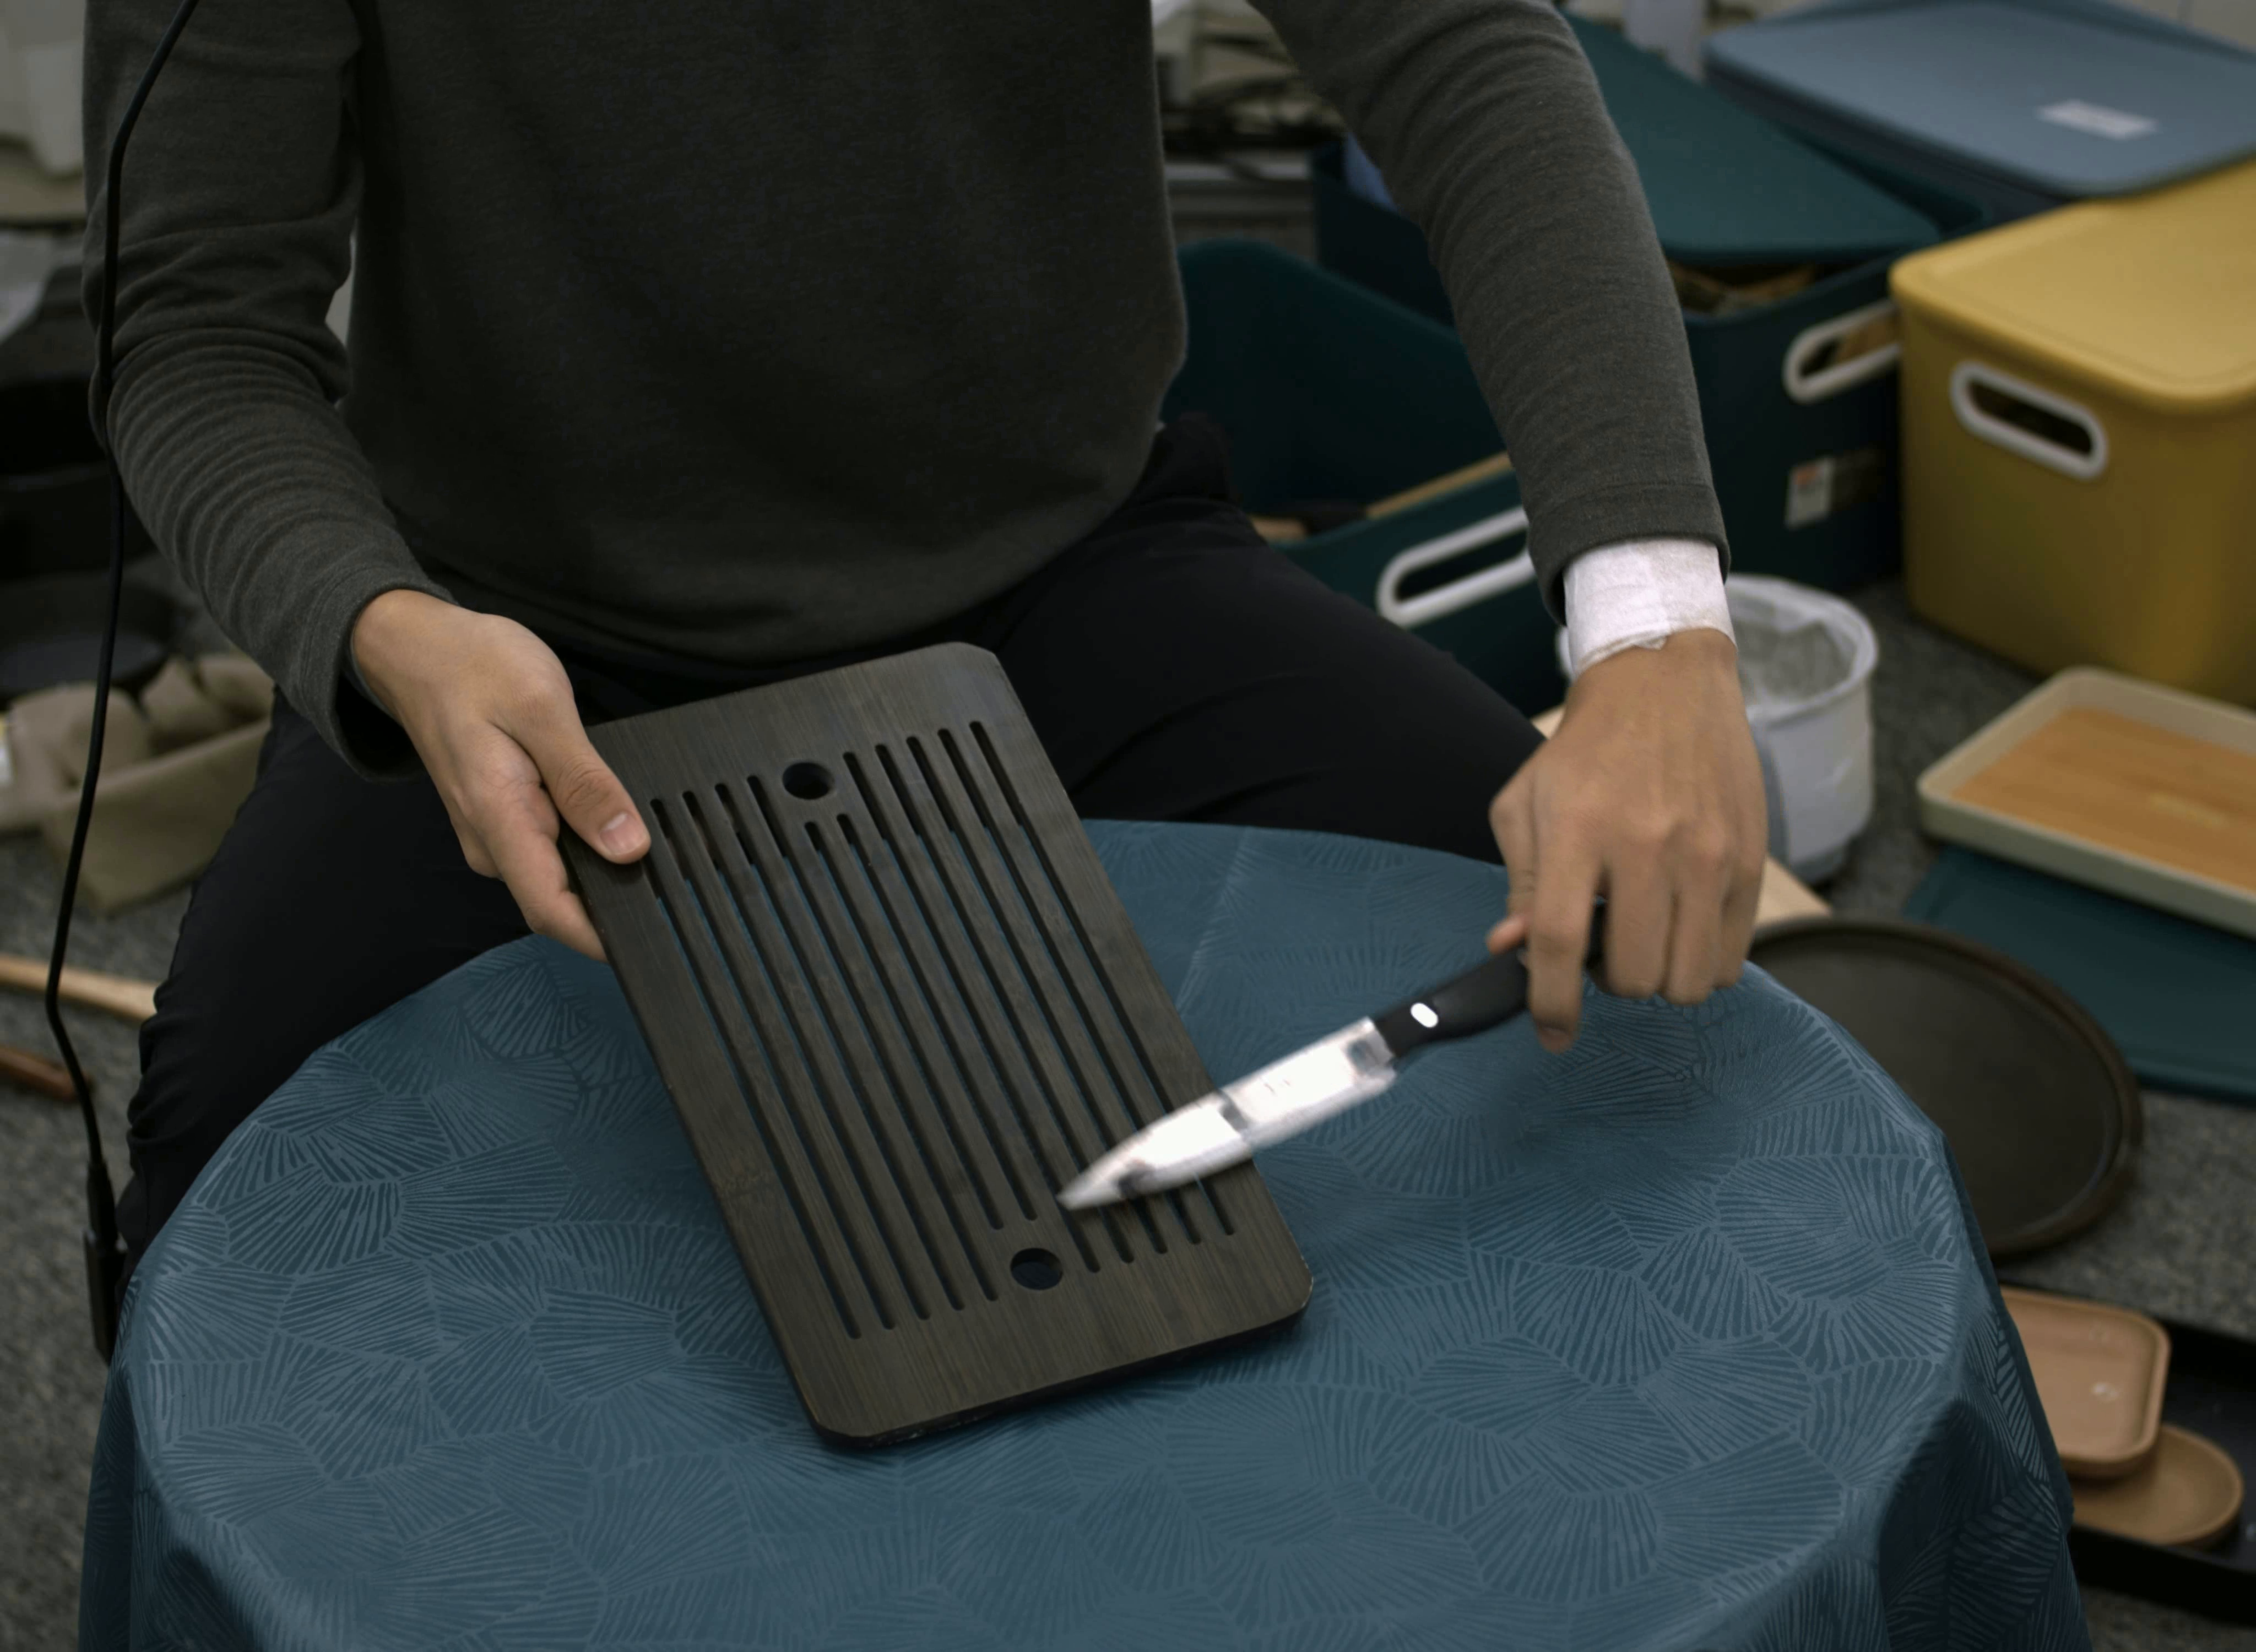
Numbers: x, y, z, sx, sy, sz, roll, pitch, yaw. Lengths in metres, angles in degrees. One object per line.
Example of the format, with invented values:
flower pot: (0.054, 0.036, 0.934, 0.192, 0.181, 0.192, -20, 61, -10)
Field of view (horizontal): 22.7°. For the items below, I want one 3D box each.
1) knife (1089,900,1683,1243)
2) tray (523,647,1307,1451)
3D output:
knife: (0.083, 0.079, 1.828, 0.240, 0.016, 0.024, -27, 74, -24)
tray: (-0.074, 0.068, 1.841, 0.170, 0.018, 0.310, -13, 51, -18)
